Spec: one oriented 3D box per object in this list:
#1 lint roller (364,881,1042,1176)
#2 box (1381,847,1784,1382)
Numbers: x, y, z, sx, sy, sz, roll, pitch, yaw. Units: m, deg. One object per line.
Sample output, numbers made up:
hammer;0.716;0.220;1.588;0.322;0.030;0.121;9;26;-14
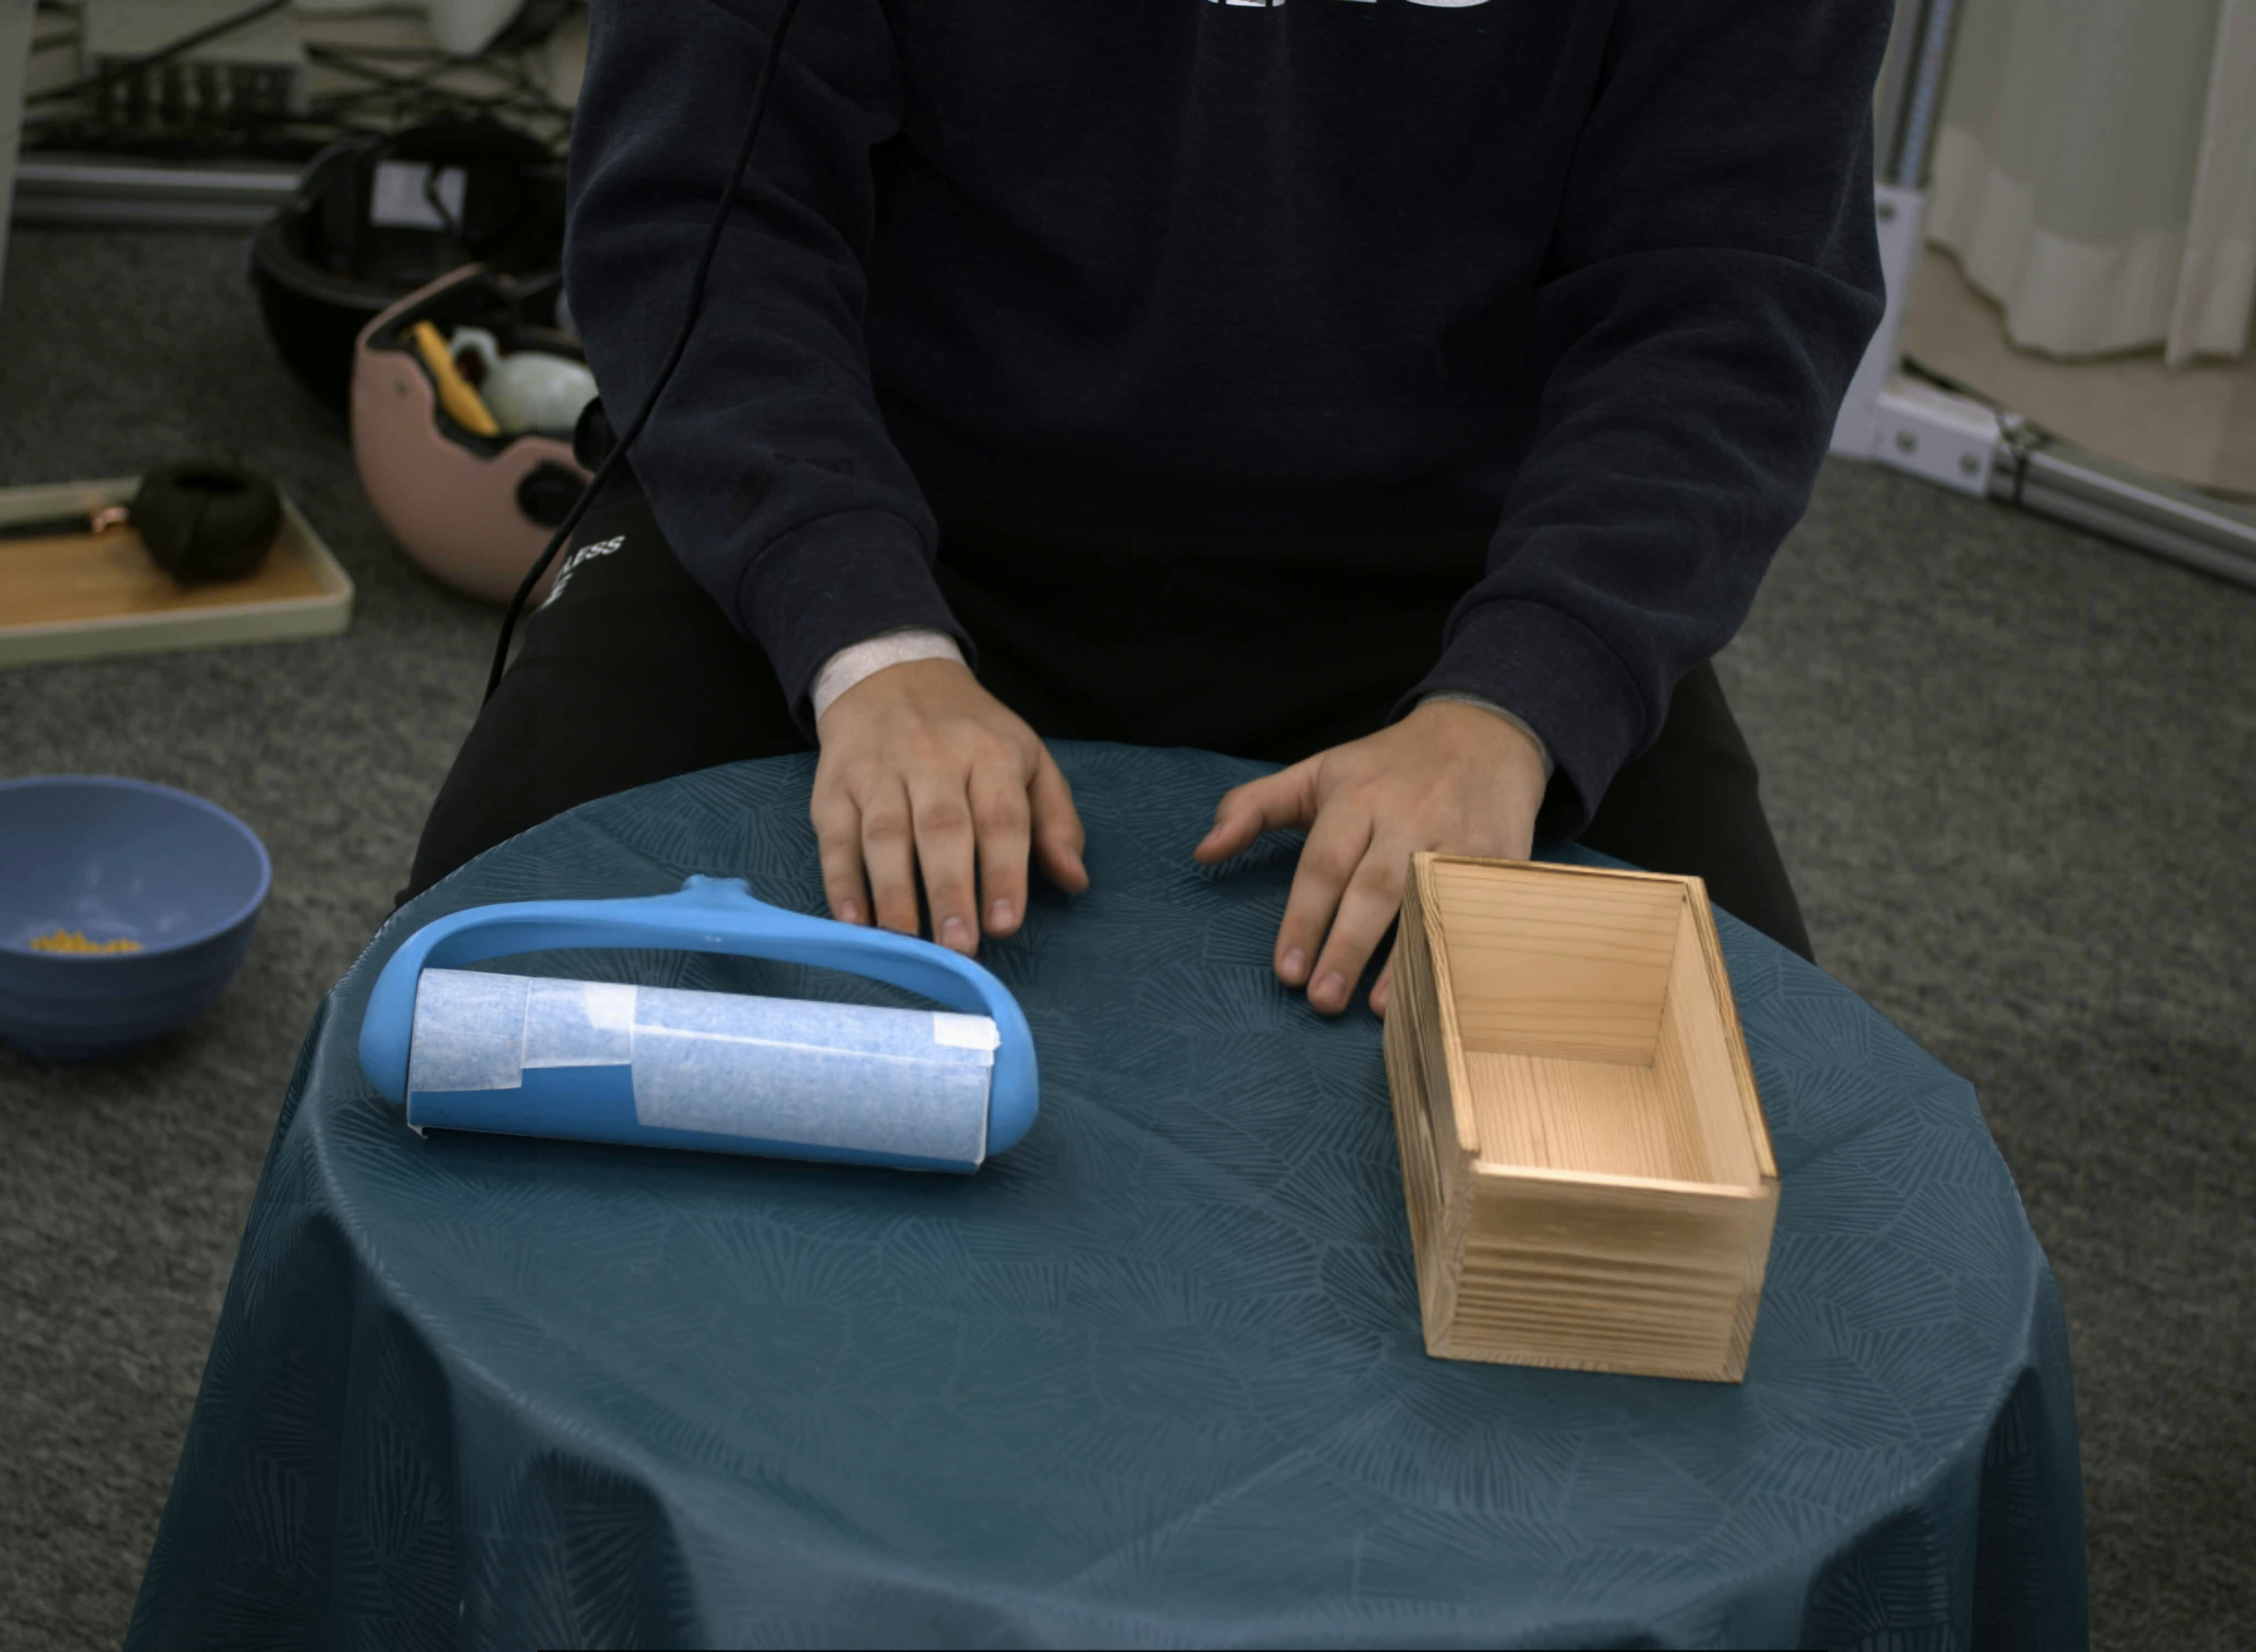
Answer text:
lint roller;-0.146;0.054;1.844;0.228;0.067;0.181;3;28;-4
box;0.151;0.095;1.811;0.107;0.080;0.213;5;27;-5
